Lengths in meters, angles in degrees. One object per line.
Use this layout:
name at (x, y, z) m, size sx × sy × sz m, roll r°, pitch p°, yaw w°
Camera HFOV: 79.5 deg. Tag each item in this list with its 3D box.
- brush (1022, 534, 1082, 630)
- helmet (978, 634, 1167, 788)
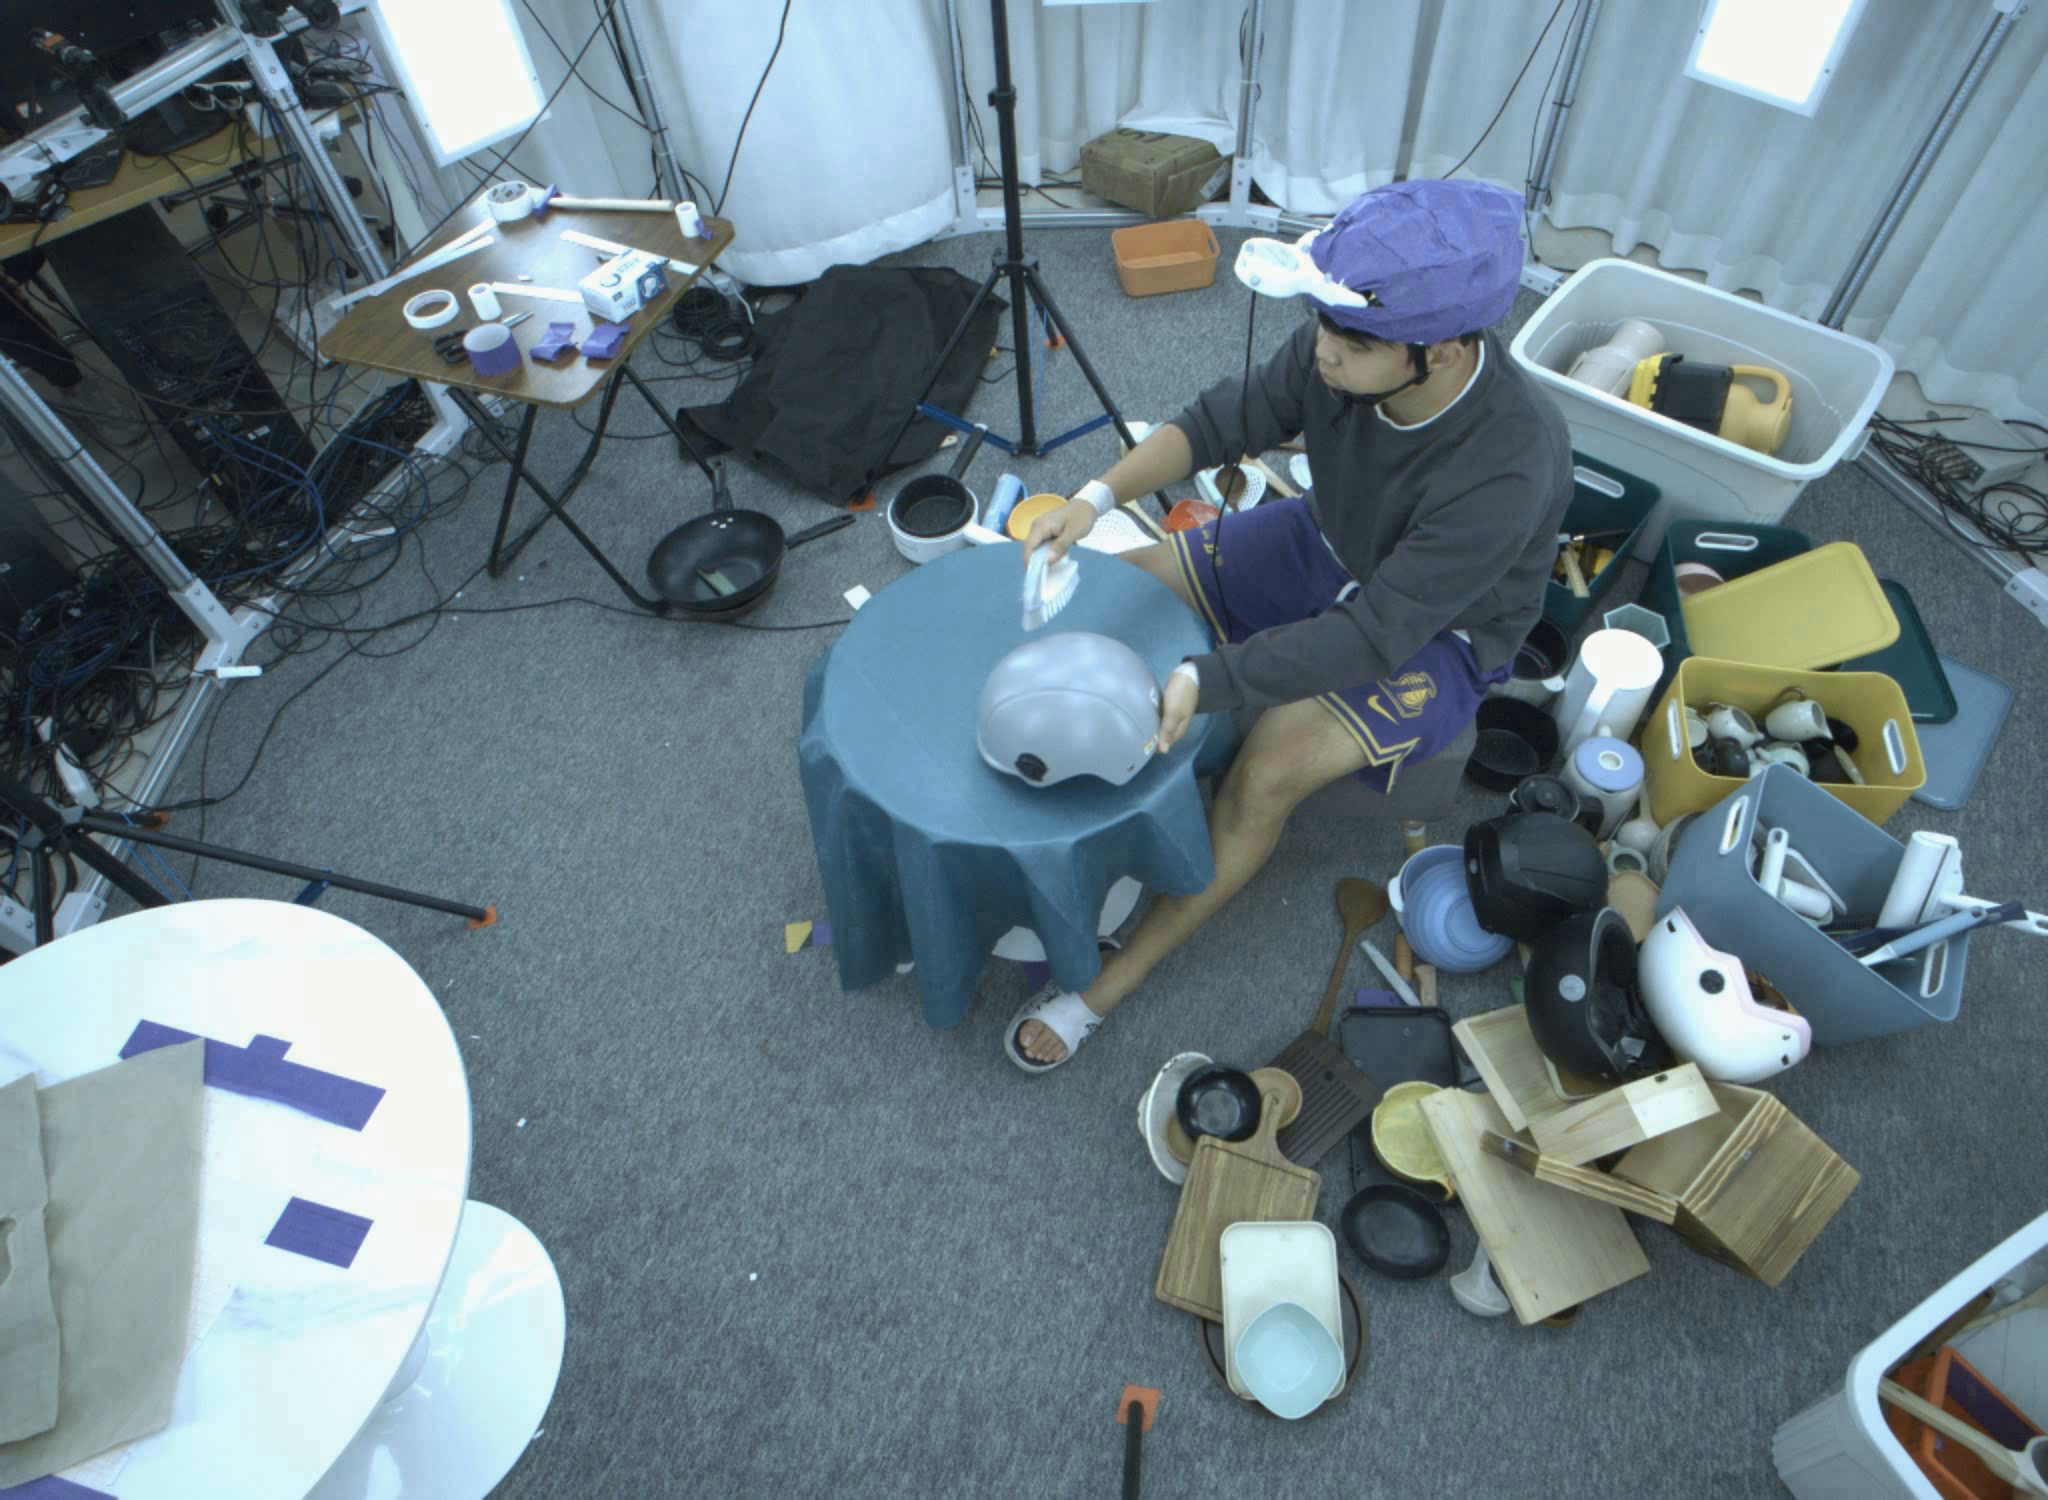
brush at (0.030, -0.246, 1.742) m, size 0.060 × 0.095 × 0.175 m, roll 3°, pitch 34°, yaw 21°
helmet at (0.059, -0.073, 1.714) m, size 0.274 × 0.171 × 0.231 m, roll 5°, pitch 47°, yaw 12°
